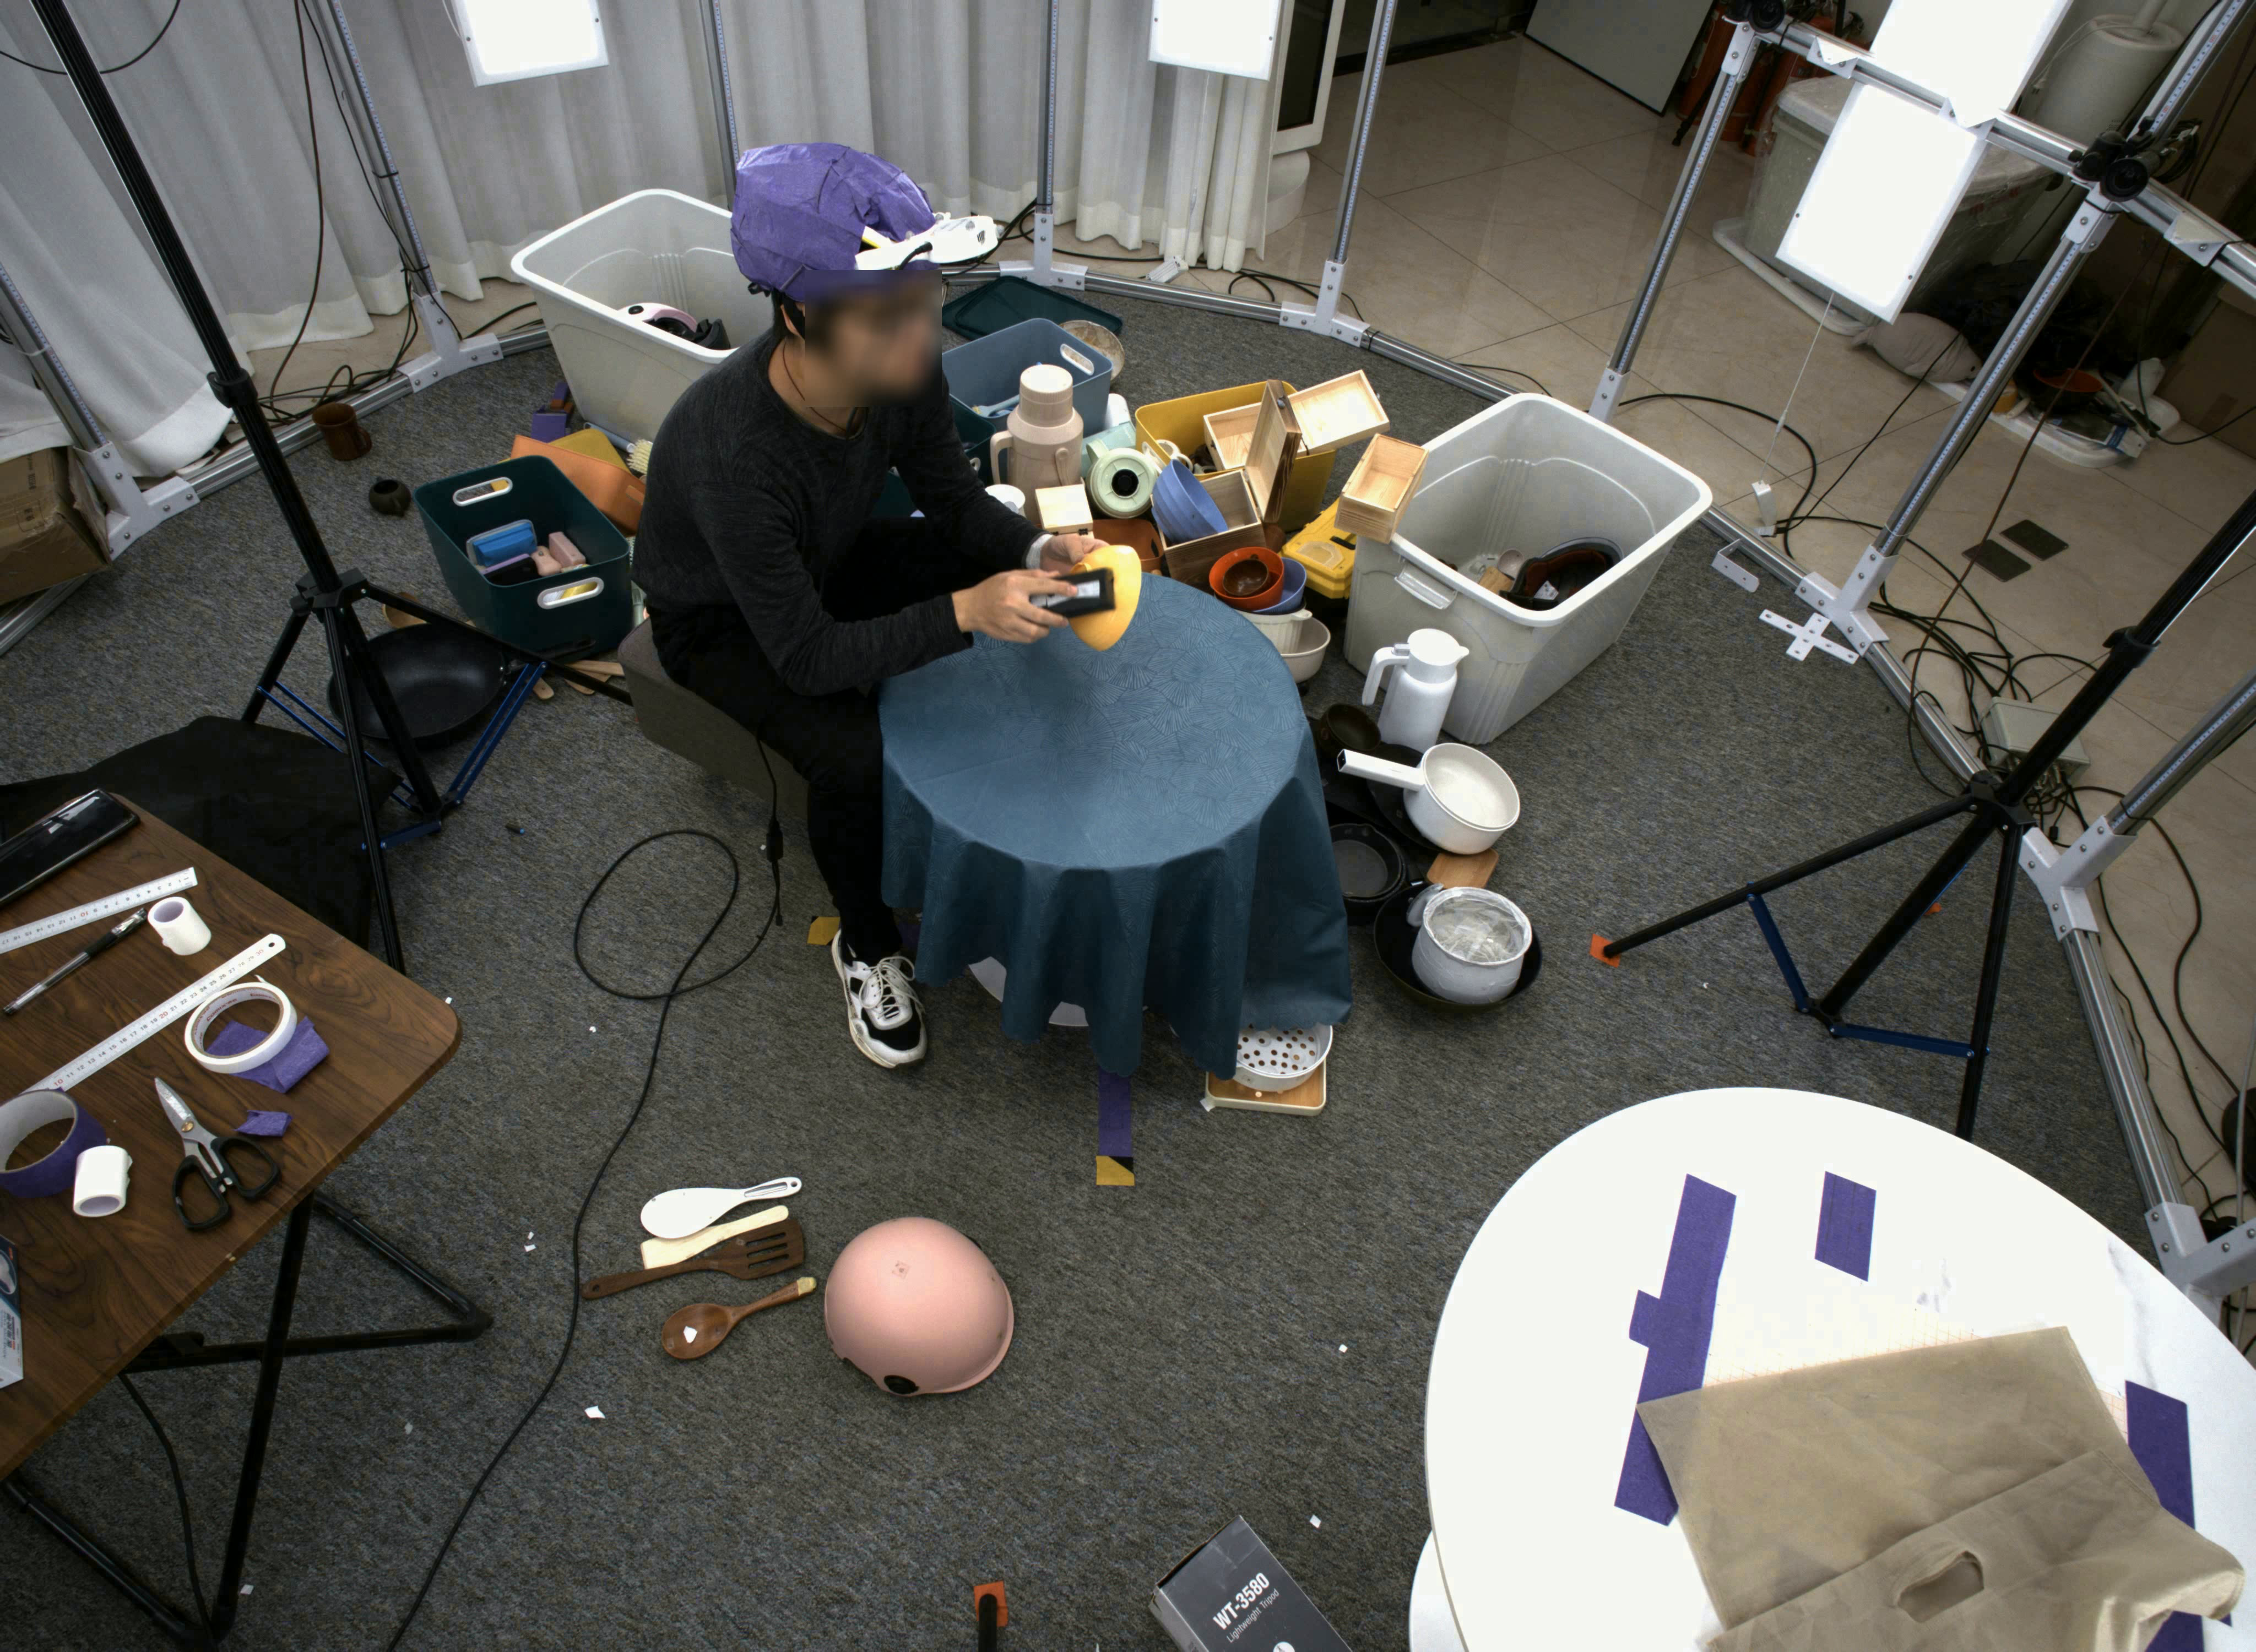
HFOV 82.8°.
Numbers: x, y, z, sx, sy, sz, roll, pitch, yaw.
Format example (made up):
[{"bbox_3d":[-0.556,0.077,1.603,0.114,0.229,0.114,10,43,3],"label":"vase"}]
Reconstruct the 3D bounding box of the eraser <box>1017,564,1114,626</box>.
[{"bbox_3d":[-0.080,-0.299,1.661,0.125,0.030,0.054,-10,77,18],"label":"eraser"}]

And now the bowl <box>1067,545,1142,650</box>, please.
[{"bbox_3d":[-0.045,-0.313,1.712,0.059,0.143,0.149,17,43,-29],"label":"bowl"}]
